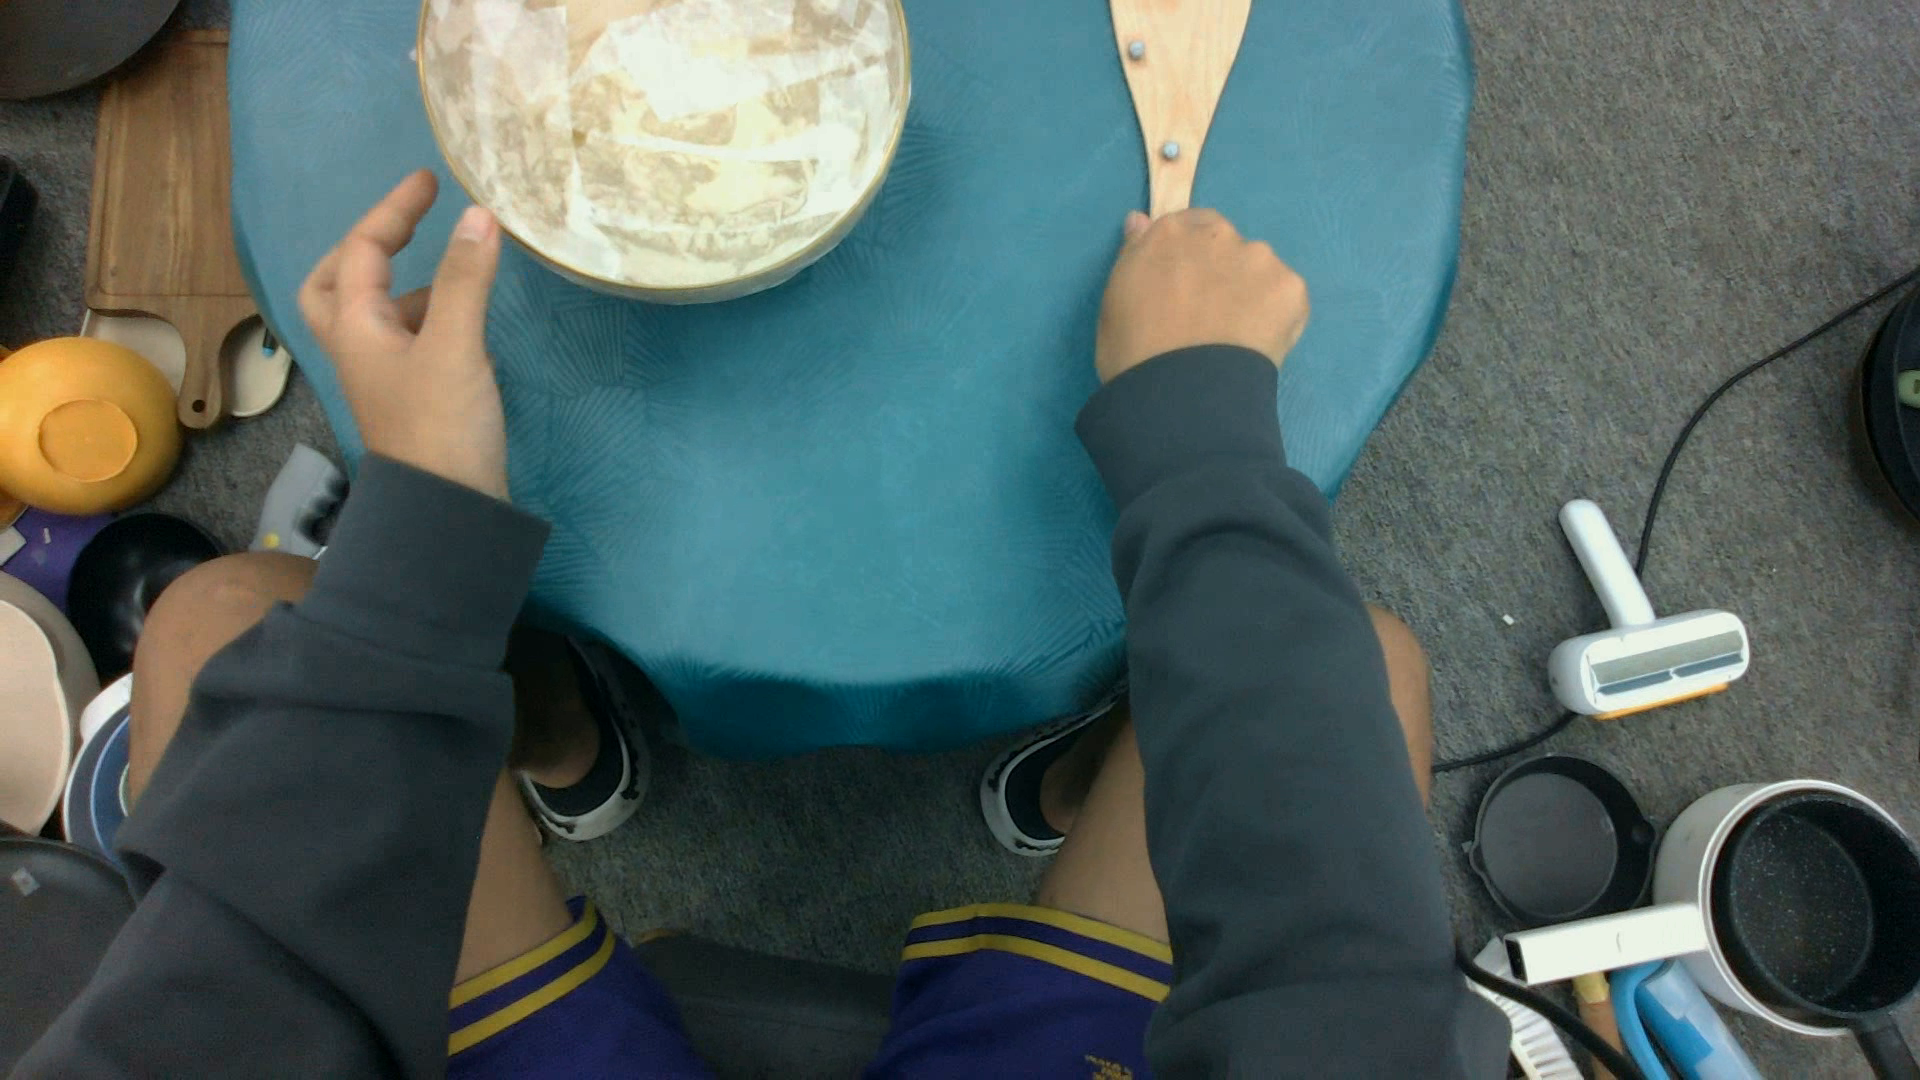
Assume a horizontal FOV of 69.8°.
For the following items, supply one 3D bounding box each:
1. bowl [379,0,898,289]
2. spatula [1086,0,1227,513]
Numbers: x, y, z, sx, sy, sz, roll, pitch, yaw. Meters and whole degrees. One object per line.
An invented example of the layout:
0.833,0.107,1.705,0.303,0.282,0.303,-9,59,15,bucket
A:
-0.133,-0.195,0.608,0.215,0.094,0.215,1,80,-7,bowl
0.090,-0.174,0.668,0.080,0.016,0.328,5,79,-5,spatula
